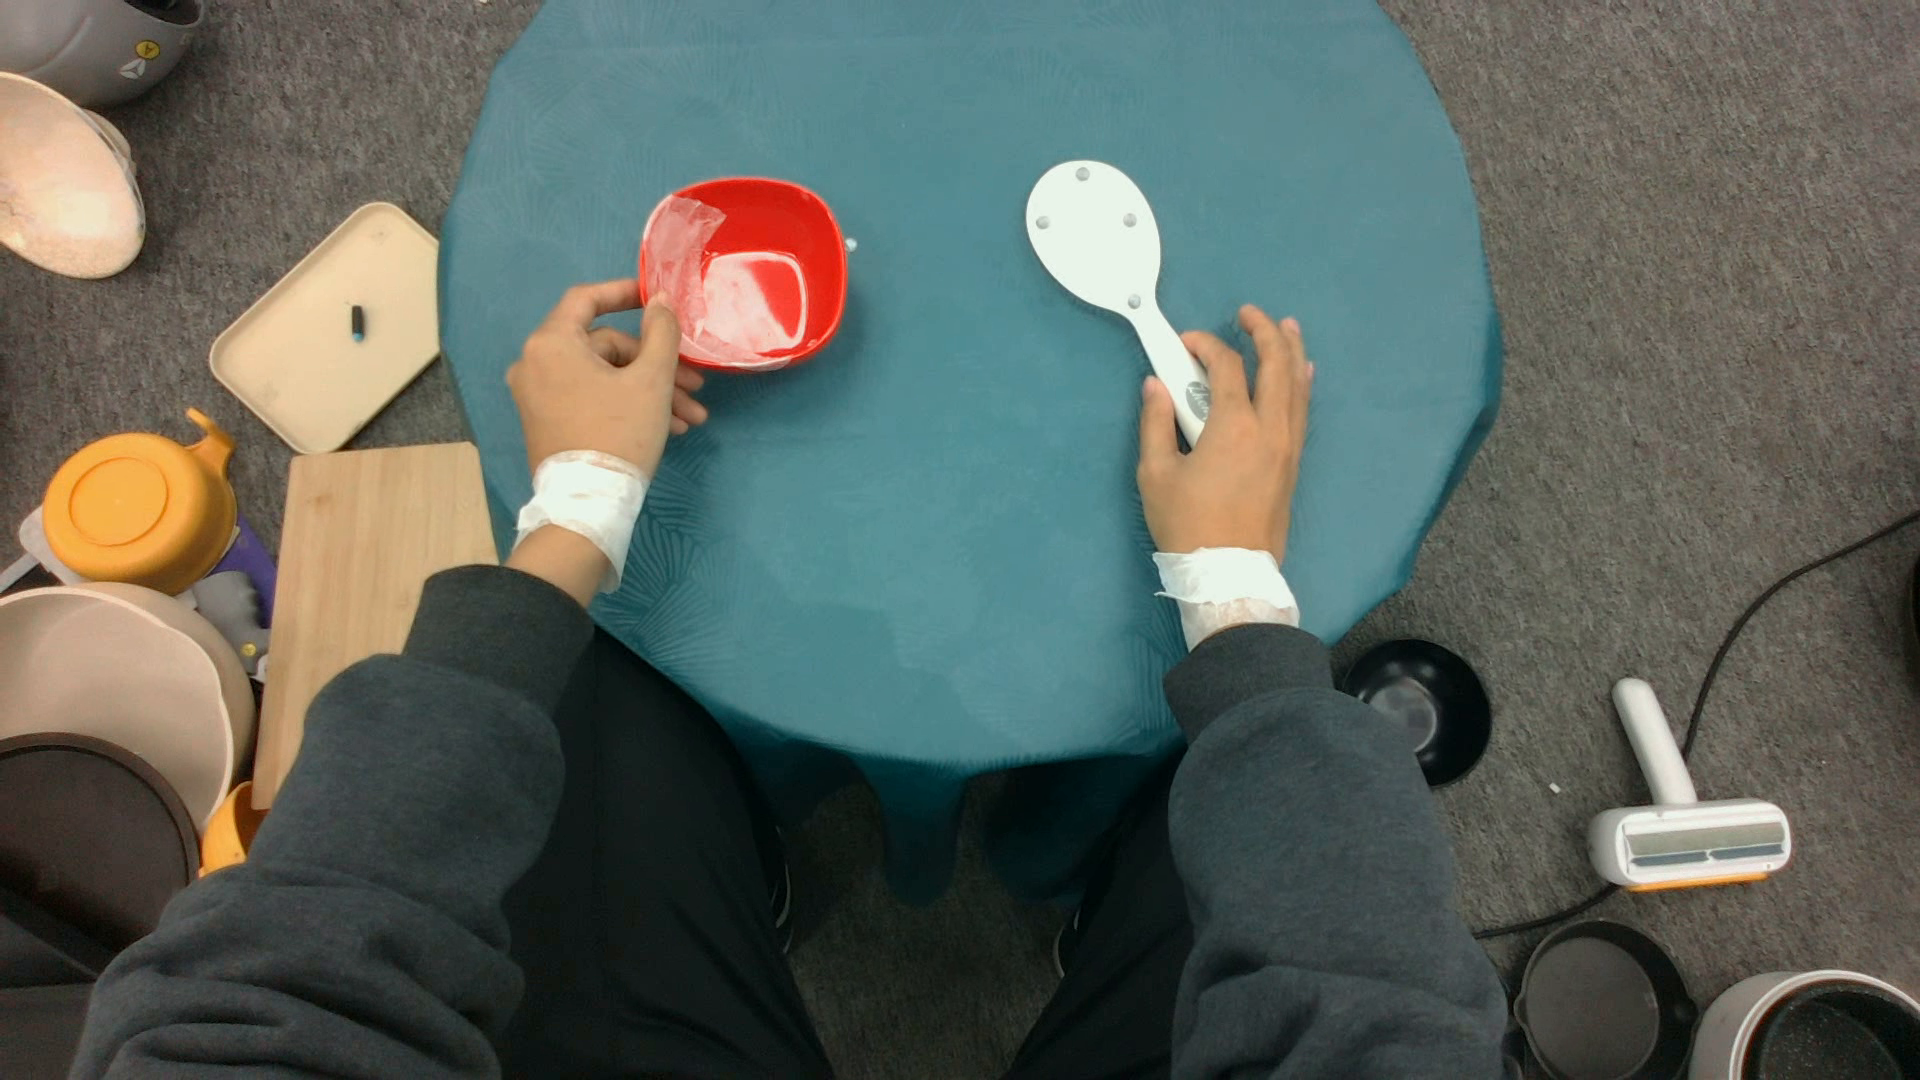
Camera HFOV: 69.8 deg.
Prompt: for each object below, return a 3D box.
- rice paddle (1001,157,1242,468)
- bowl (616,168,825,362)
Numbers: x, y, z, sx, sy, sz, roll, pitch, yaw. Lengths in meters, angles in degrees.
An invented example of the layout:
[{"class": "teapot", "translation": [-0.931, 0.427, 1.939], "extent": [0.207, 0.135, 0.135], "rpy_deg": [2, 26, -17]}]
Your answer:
[{"class": "rice paddle", "translation": [0.090, -0.133, 0.775], "extent": [0.069, 0.029, 0.205], "rpy_deg": [-30, 78, -3]}, {"class": "bowl", "translation": [-0.128, -0.142, 0.754], "extent": [0.119, 0.051, 0.119], "rpy_deg": [1, 74, -3]}]
